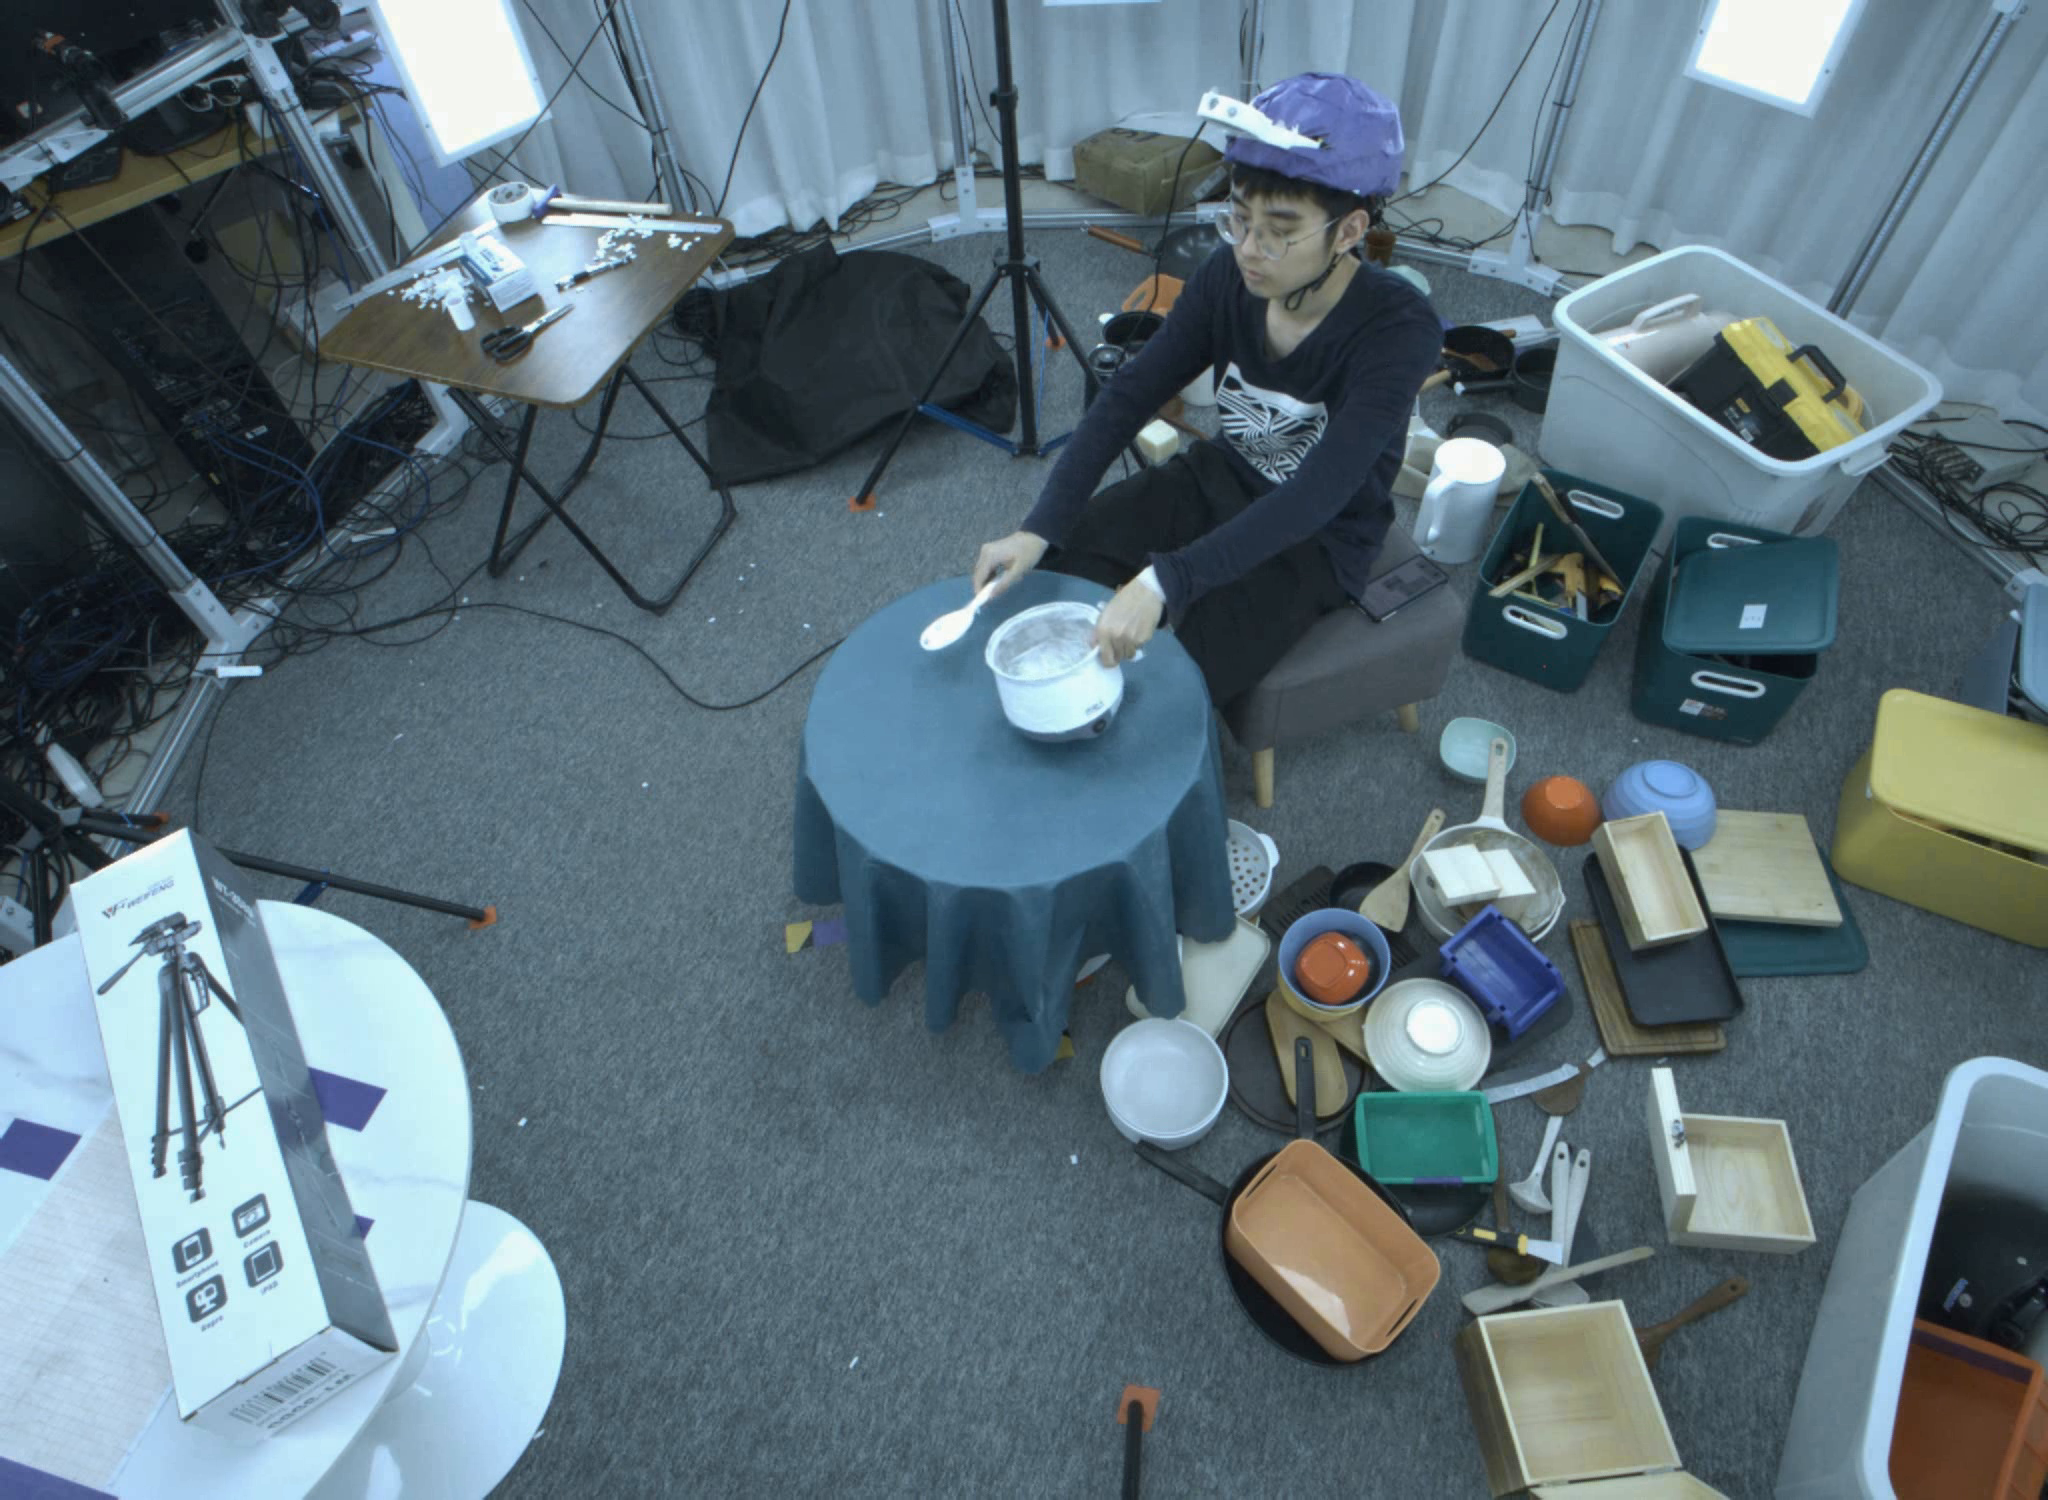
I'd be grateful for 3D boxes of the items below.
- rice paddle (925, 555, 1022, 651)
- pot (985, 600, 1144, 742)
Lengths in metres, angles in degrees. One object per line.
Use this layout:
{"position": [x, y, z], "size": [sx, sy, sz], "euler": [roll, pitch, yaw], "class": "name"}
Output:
{"position": [-0.079, -0.224, 1.889], "size": [0.067, 0.030, 0.206], "euler": [26, 63, 33], "class": "rice paddle"}
{"position": [0.068, -0.125, 1.771], "size": [0.235, 0.139, 0.174], "euler": [-35, 46, -18], "class": "pot"}
